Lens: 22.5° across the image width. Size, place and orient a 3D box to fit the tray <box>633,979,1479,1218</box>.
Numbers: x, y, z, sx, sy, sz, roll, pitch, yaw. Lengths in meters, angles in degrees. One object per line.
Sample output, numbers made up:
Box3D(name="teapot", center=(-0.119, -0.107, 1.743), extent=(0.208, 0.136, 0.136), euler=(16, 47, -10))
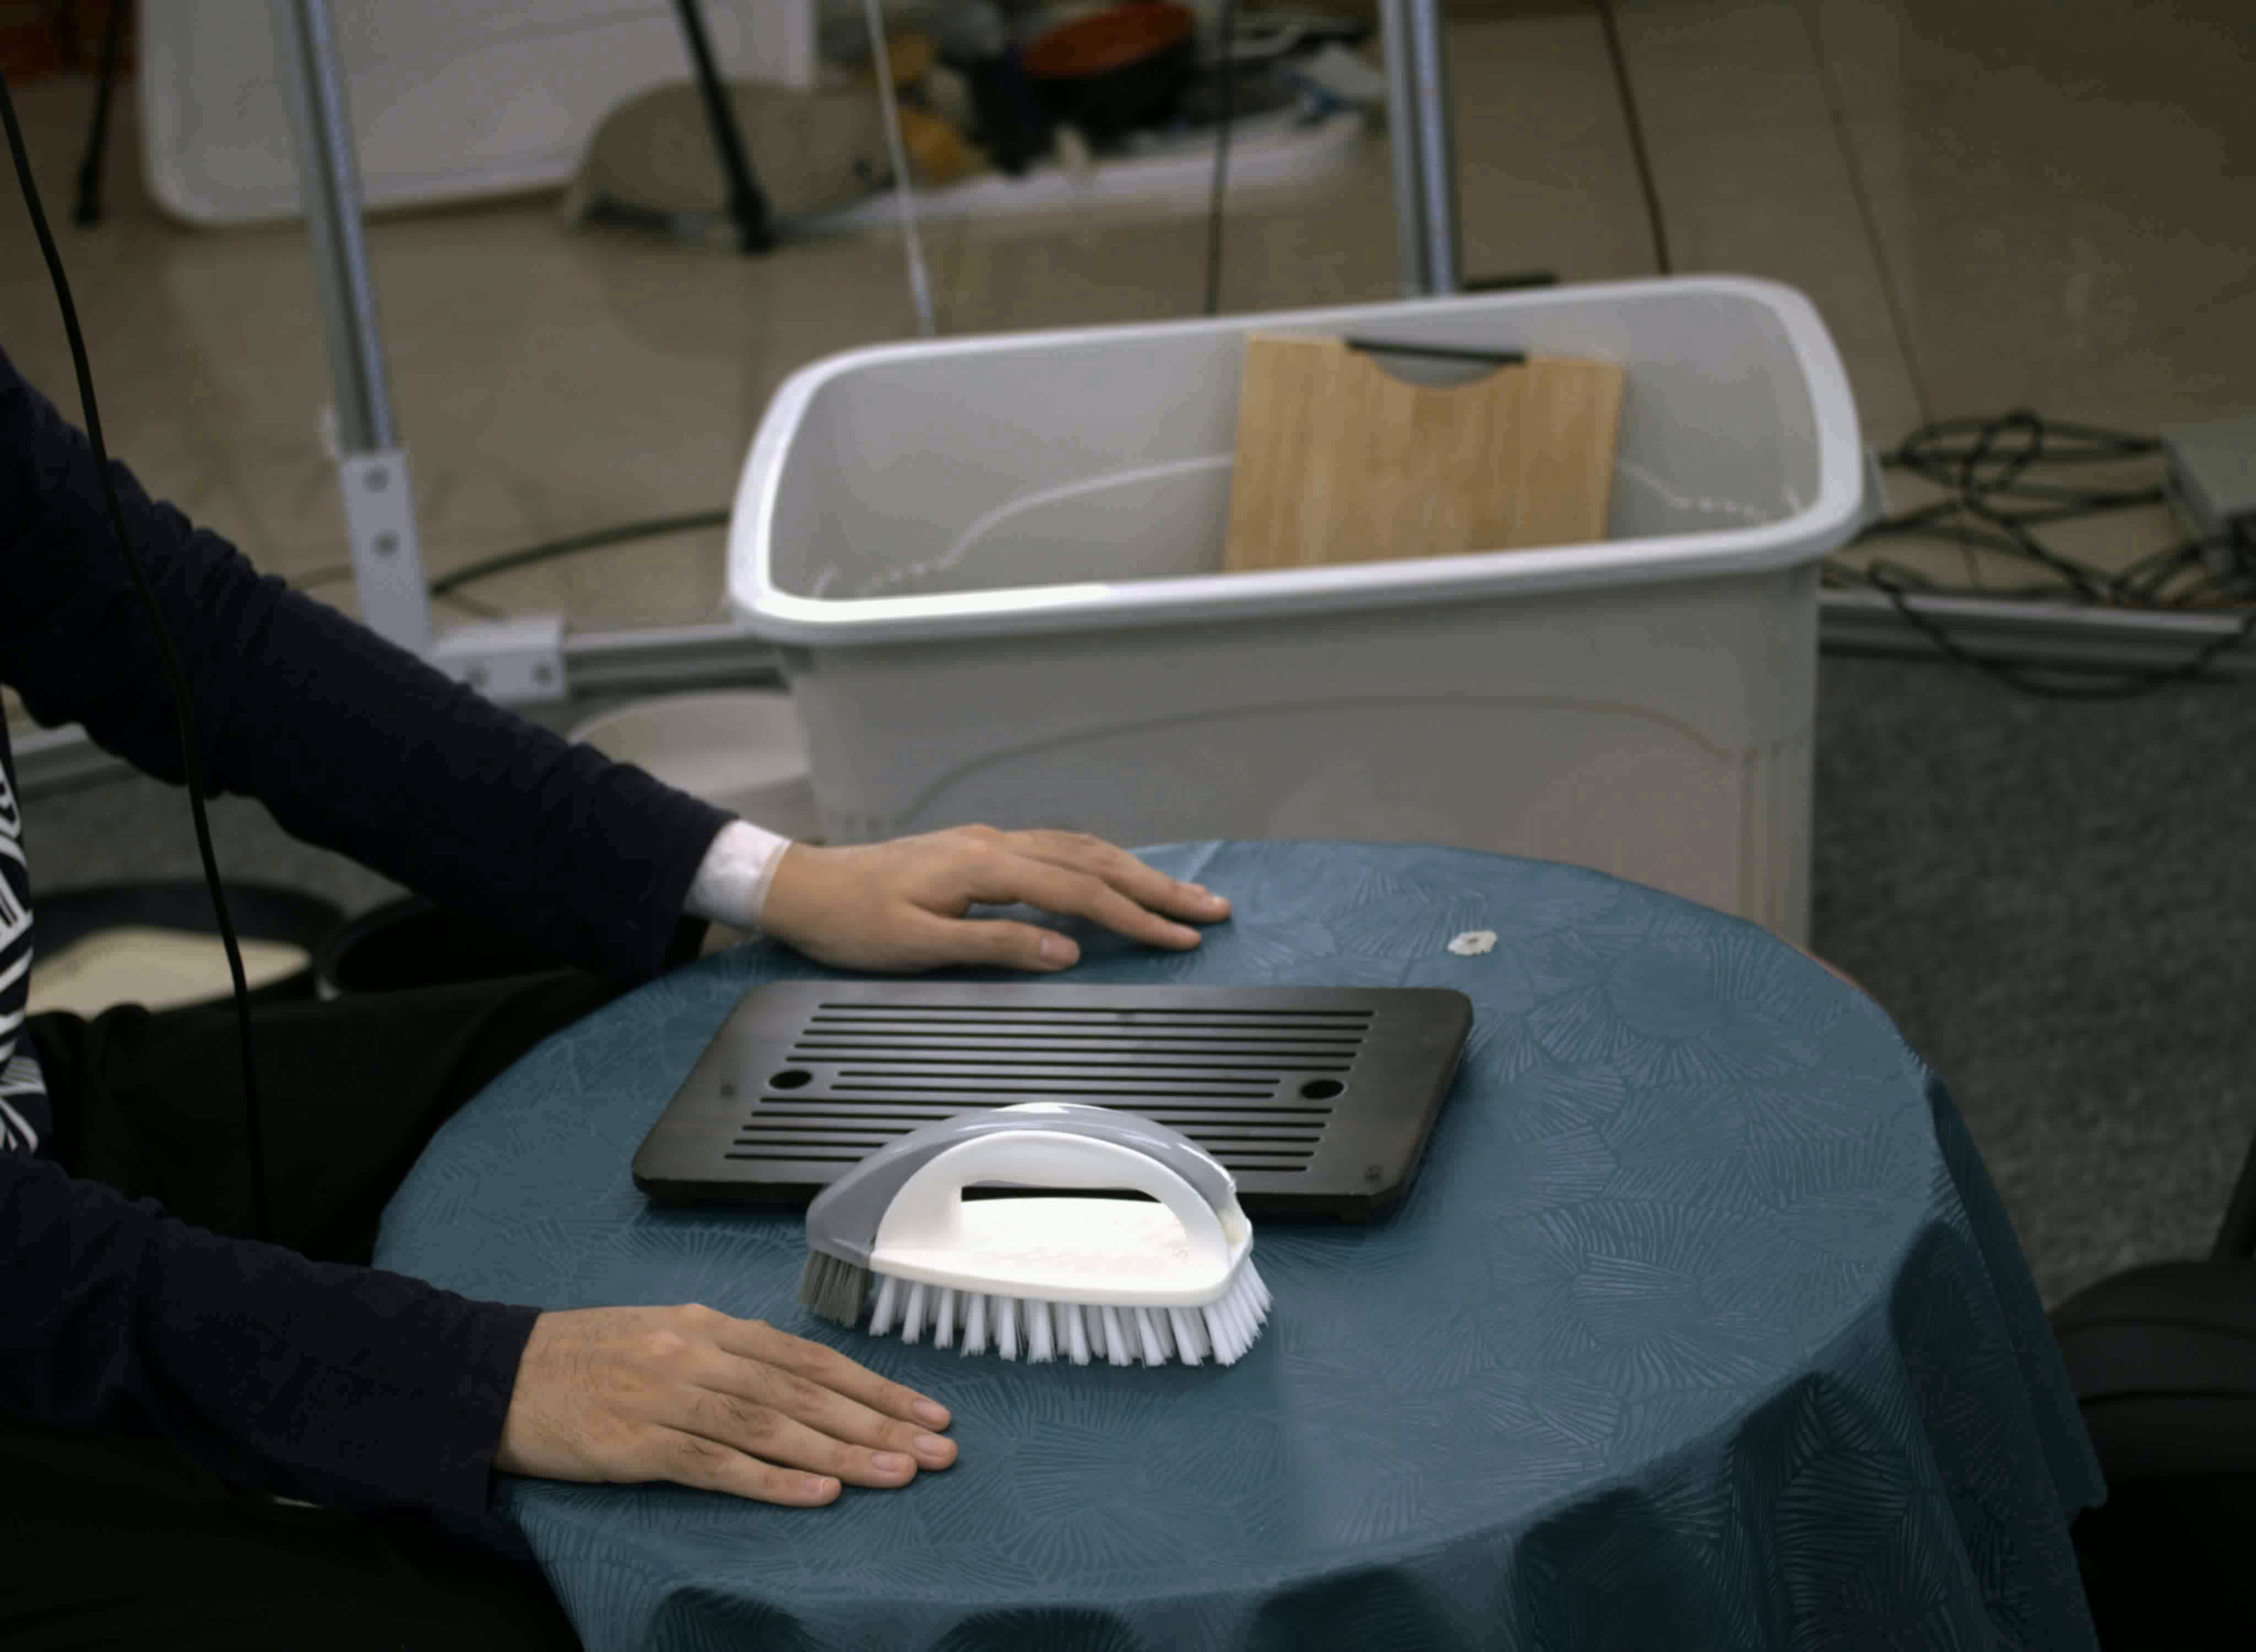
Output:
Box3D(name="tray", center=(-0.026, 0.105, 2.206), extent=(0.305, 0.019, 0.168), euler=(0, 25, 15))

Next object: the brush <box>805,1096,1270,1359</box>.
Box3D(name="brush", center=(-0.040, 0.142, 2.042), extent=(0.175, 0.096, 0.060), euler=(1, 27, 19))
